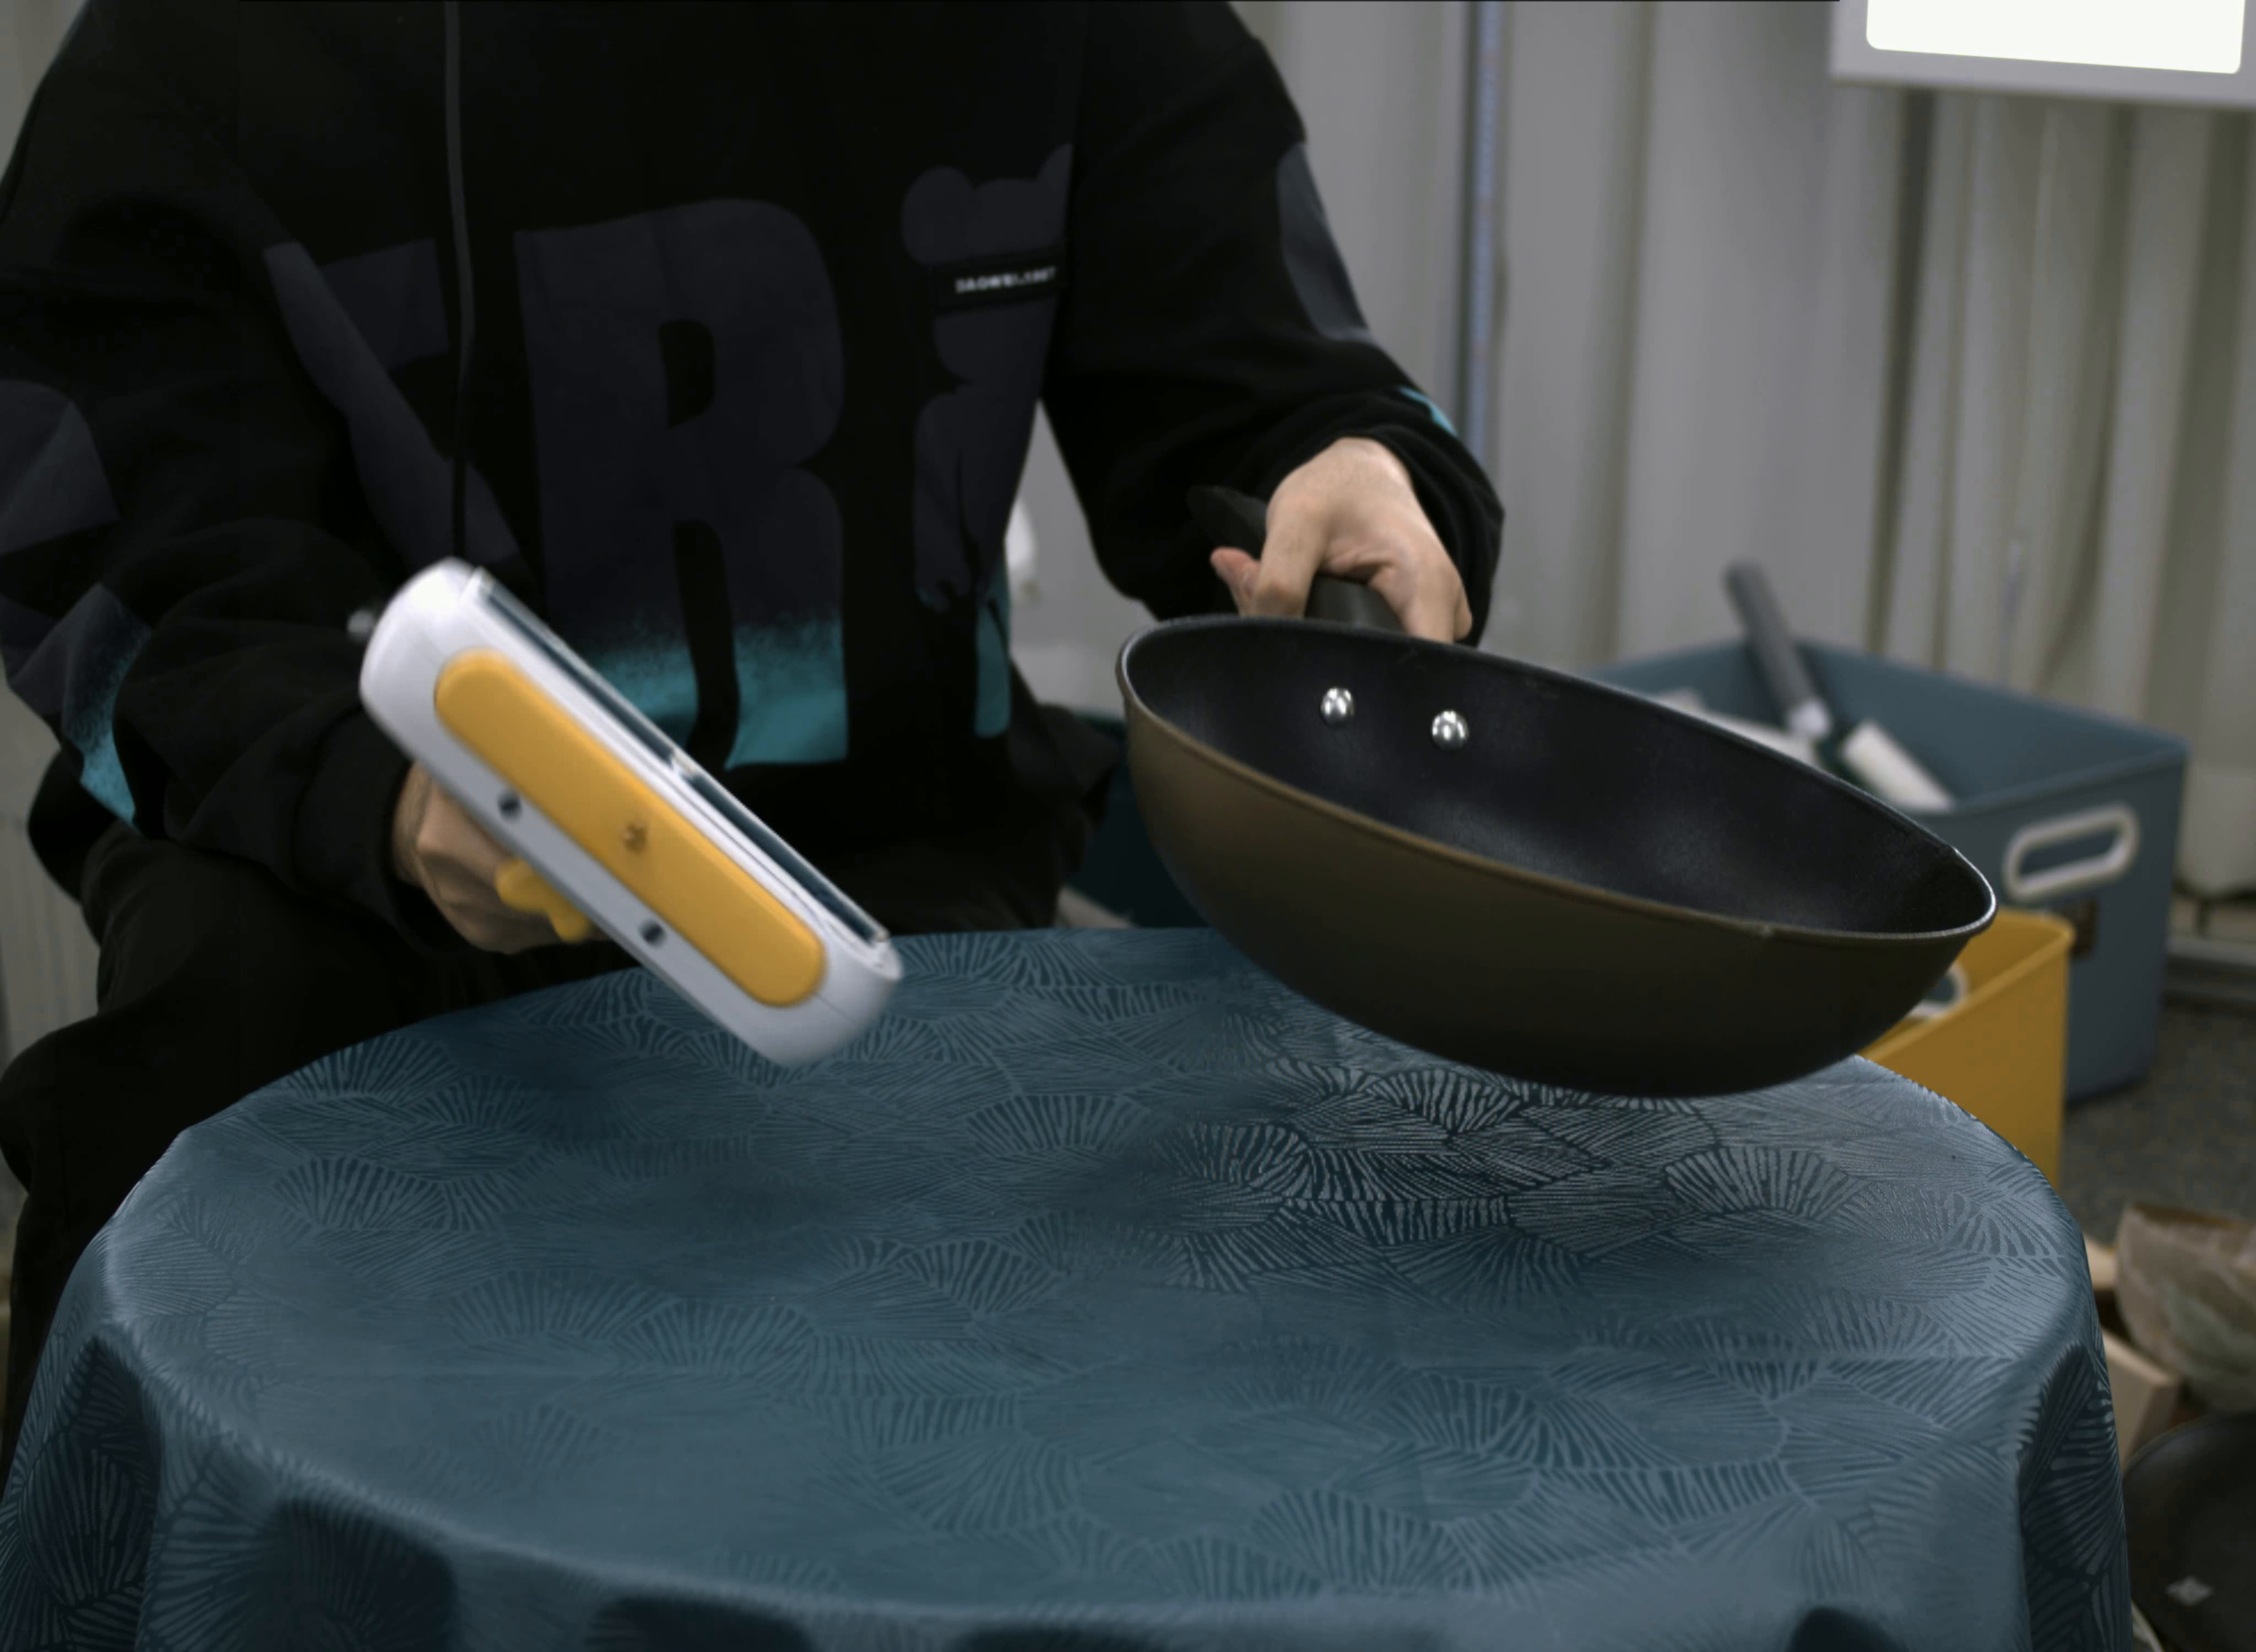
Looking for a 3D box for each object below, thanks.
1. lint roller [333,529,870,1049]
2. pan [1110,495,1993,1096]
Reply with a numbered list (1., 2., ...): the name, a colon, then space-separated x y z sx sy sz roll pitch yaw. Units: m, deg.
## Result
1. lint roller: -0.166 -0.006 1.638 0.193 0.074 0.192 40 -2 -4
2. pan: 0.093 -0.013 1.711 0.289 0.087 0.458 10 15 -22
